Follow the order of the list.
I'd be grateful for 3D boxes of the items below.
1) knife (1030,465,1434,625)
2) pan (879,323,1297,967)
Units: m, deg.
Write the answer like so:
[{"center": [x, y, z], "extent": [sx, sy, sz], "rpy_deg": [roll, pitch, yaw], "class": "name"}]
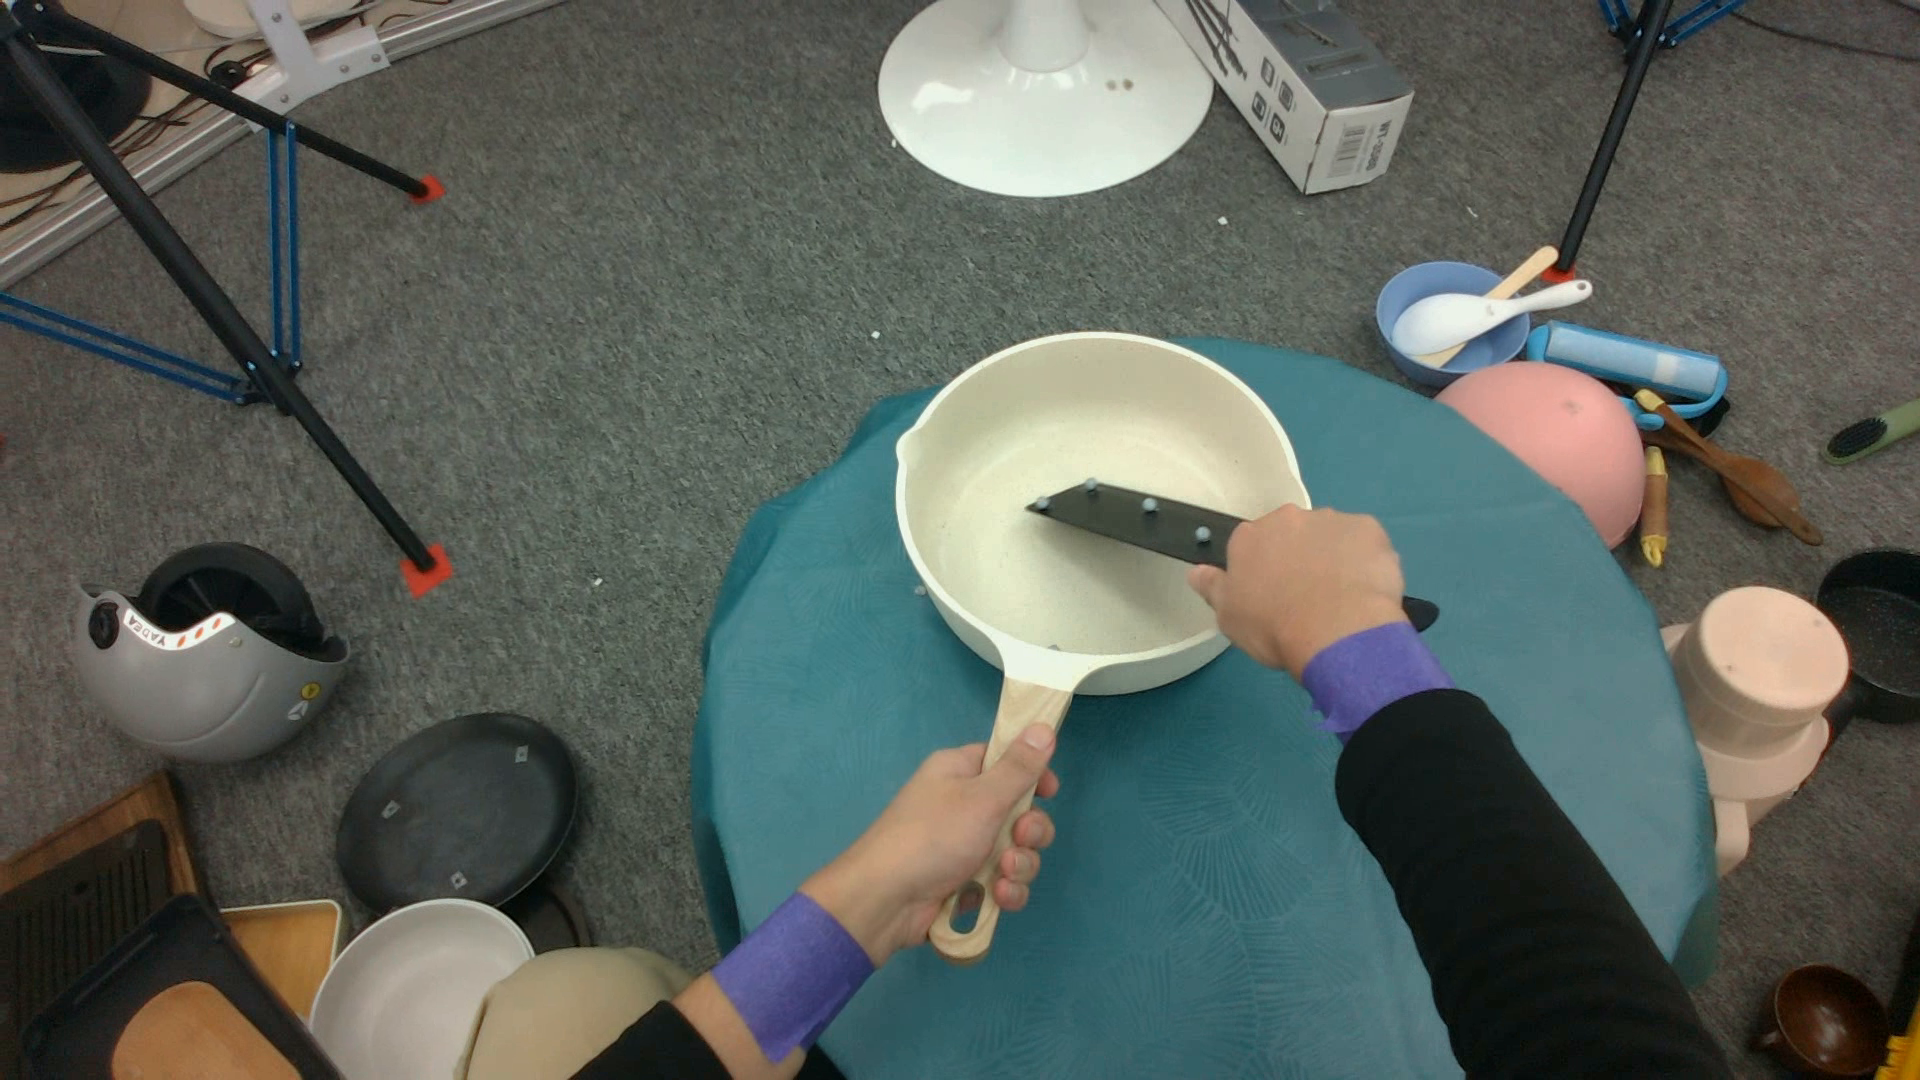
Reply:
[{"center": [0.152, -0.006, 0.809], "extent": [0.081, 0.021, 0.302], "rpy_deg": [-20, 25, -25], "class": "knife"}, {"center": [0.054, 0.053, 0.832], "extent": [0.263, 0.101, 0.437], "rpy_deg": [12, 58, 9], "class": "pan"}]
